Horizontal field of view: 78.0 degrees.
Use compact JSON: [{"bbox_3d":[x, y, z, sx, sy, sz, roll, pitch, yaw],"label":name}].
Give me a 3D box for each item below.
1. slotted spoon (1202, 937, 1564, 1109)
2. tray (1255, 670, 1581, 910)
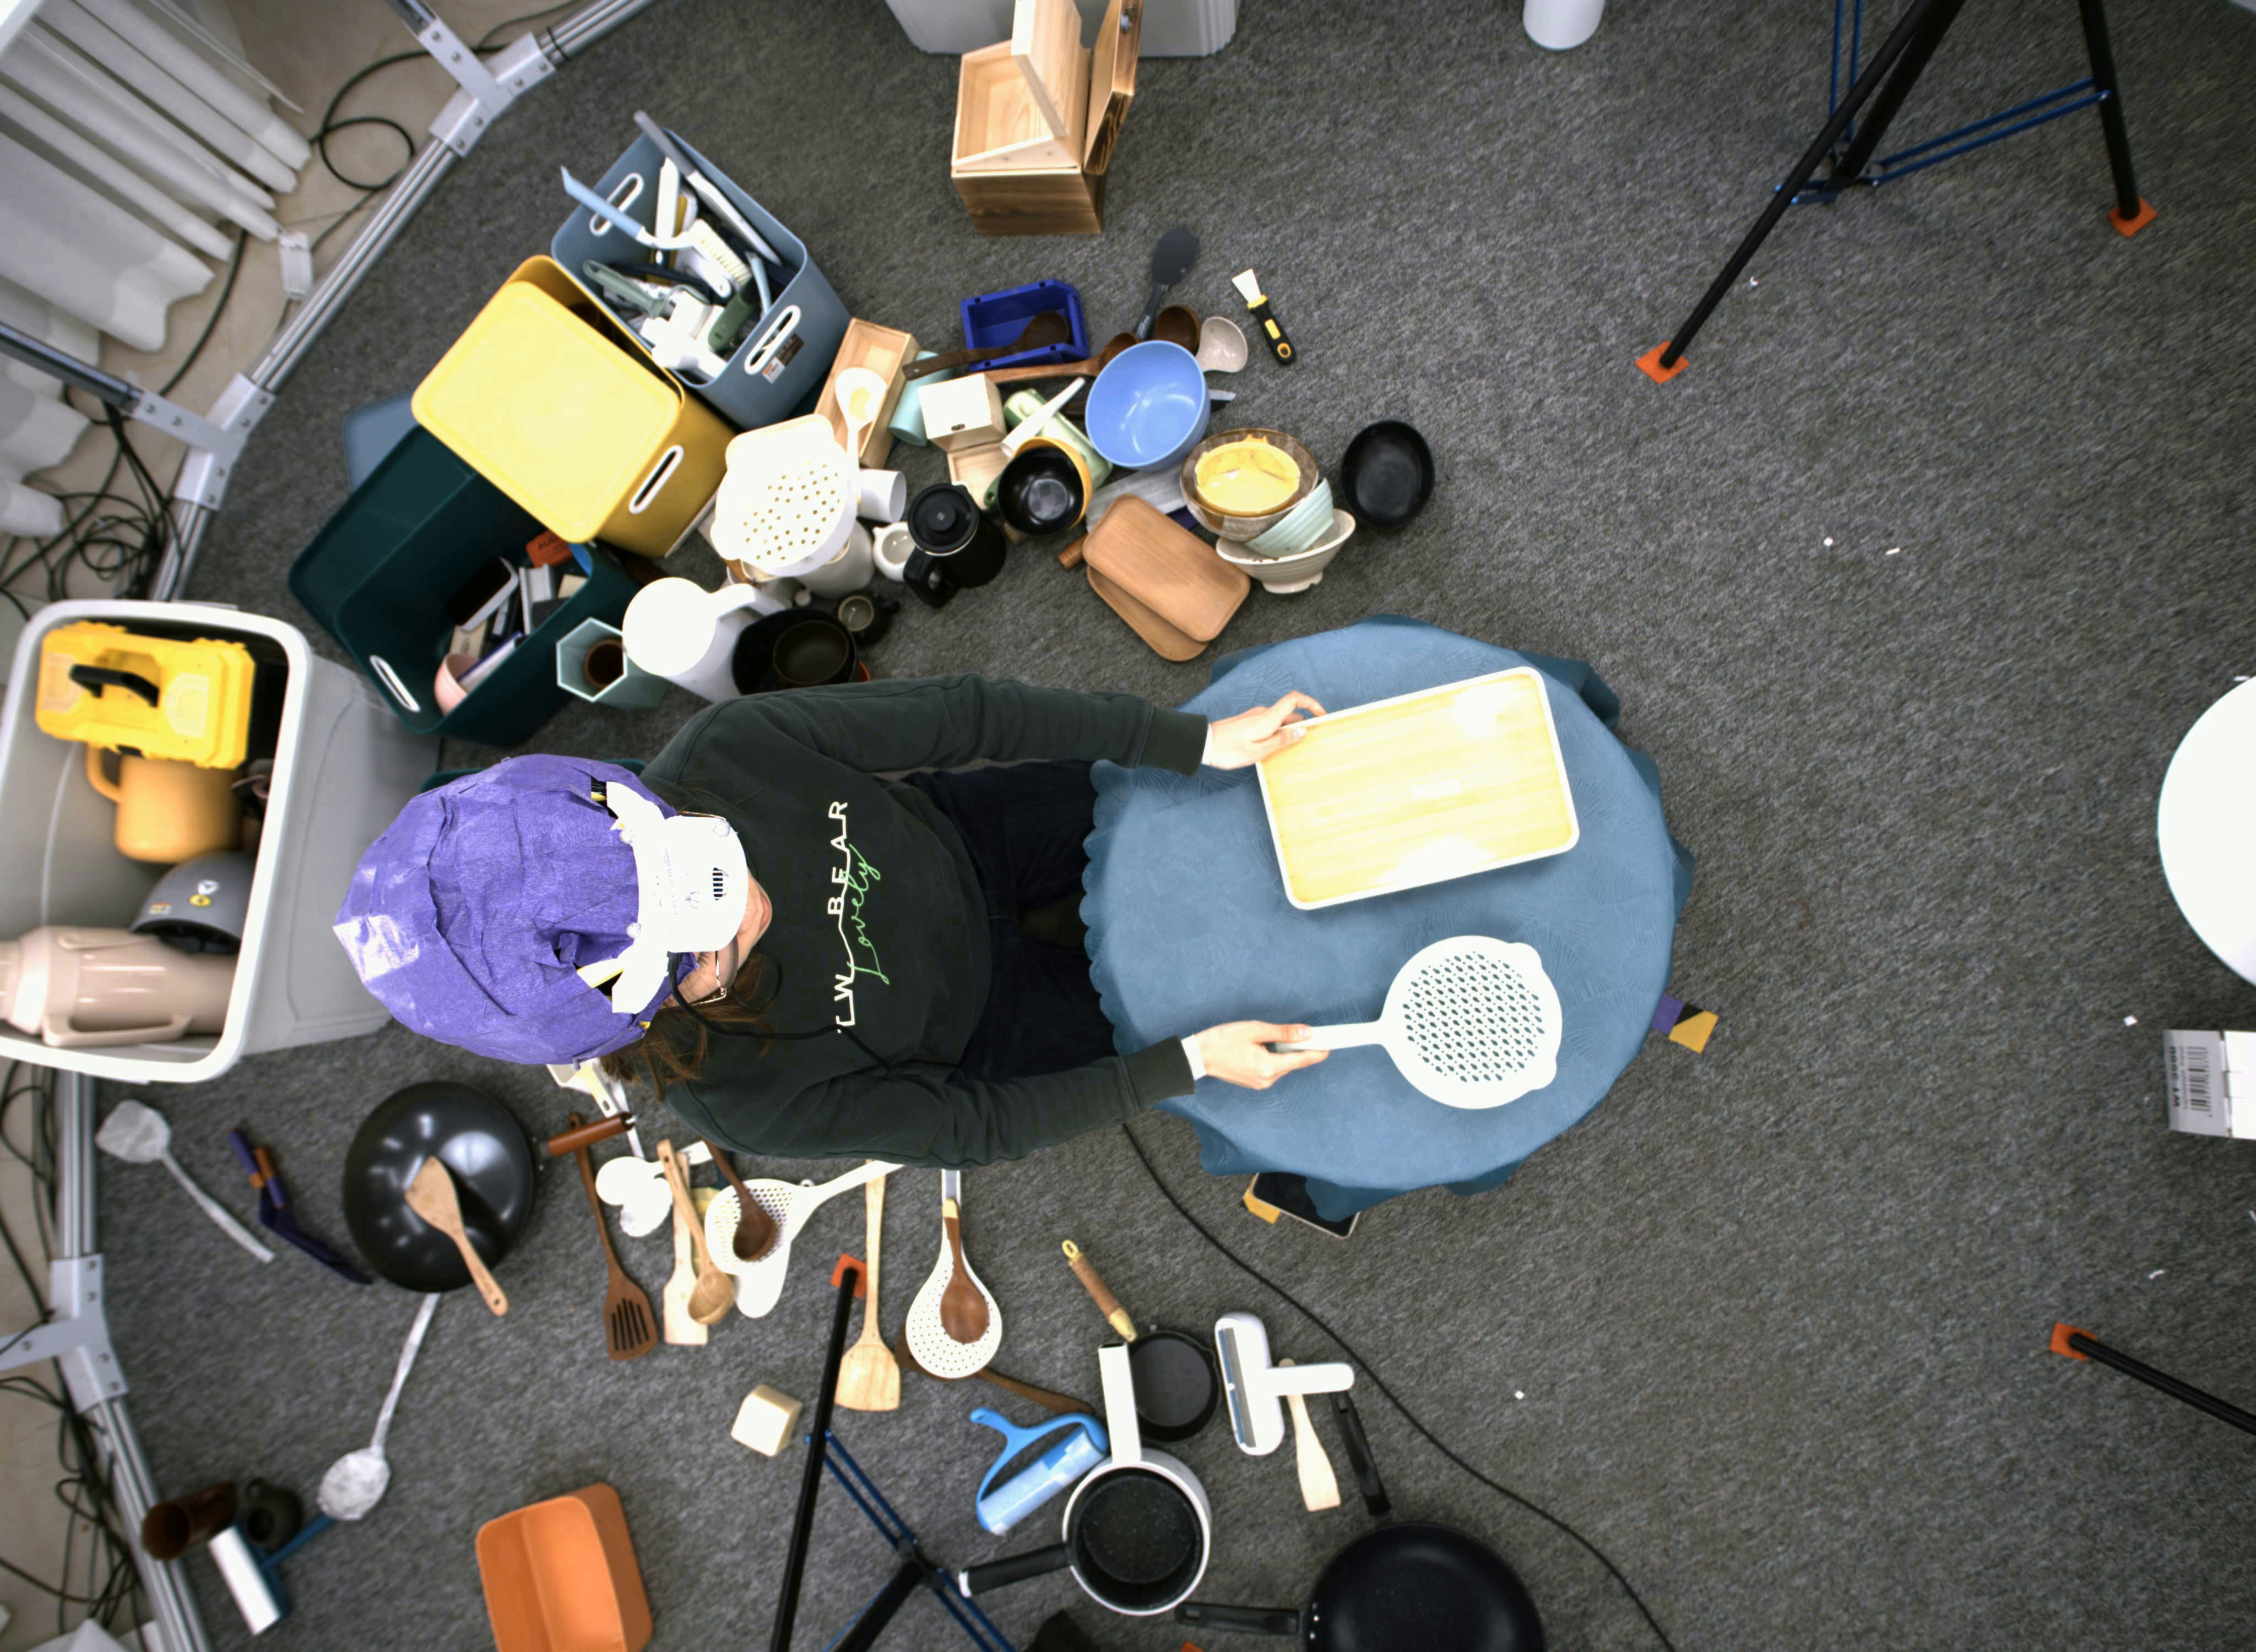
[{"bbox_3d":[0.250,0.207,1.393,0.360,0.075,0.169,-8,87,7],"label":"slotted spoon"},{"bbox_3d":[0.294,-0.037,1.410,0.302,0.027,0.191,-13,90,11],"label":"tray"}]
